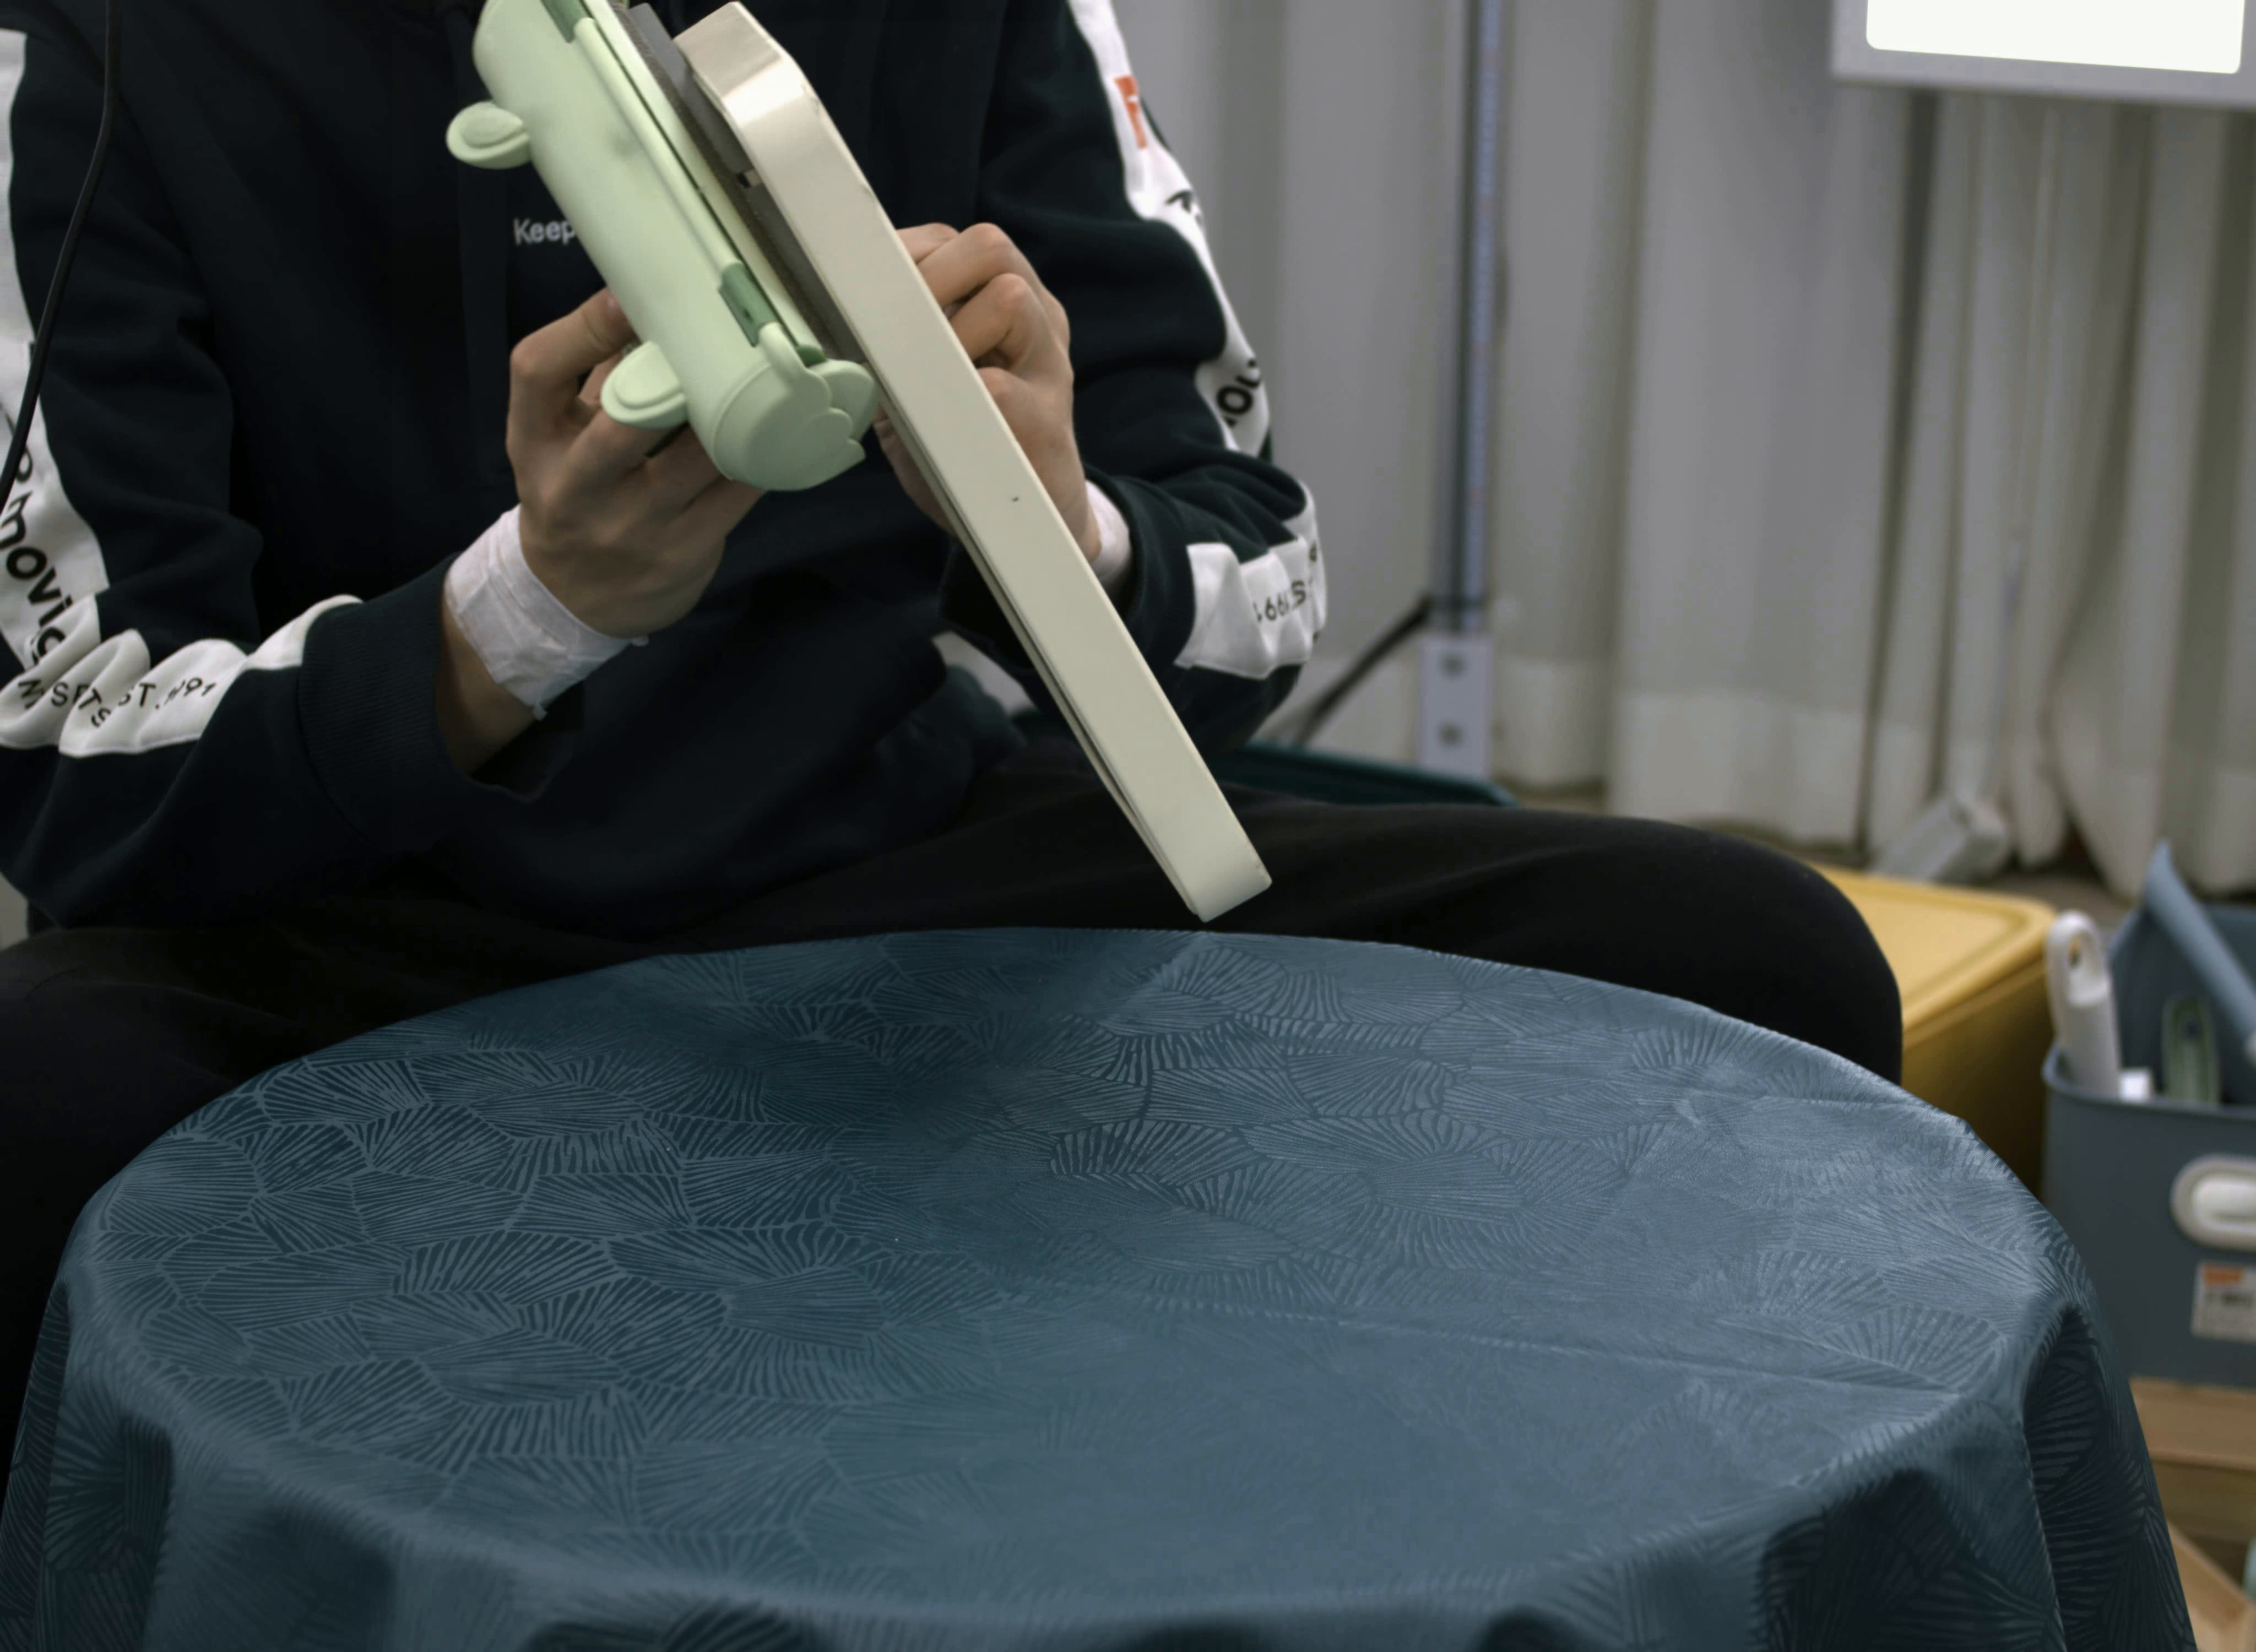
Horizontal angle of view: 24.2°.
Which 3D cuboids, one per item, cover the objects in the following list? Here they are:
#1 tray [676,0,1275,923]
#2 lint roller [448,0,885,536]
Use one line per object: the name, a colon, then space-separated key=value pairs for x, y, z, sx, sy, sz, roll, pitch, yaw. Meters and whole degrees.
tray: x=-0.050 y=-0.117 z=1.658 sx=0.027 sy=0.303 sz=0.190 roll=-31 pitch=18 yaw=-2
lint roller: x=-0.155 y=-0.149 z=1.638 sx=0.082 sy=0.185 sz=0.196 roll=-16 pitch=57 yaw=-27
